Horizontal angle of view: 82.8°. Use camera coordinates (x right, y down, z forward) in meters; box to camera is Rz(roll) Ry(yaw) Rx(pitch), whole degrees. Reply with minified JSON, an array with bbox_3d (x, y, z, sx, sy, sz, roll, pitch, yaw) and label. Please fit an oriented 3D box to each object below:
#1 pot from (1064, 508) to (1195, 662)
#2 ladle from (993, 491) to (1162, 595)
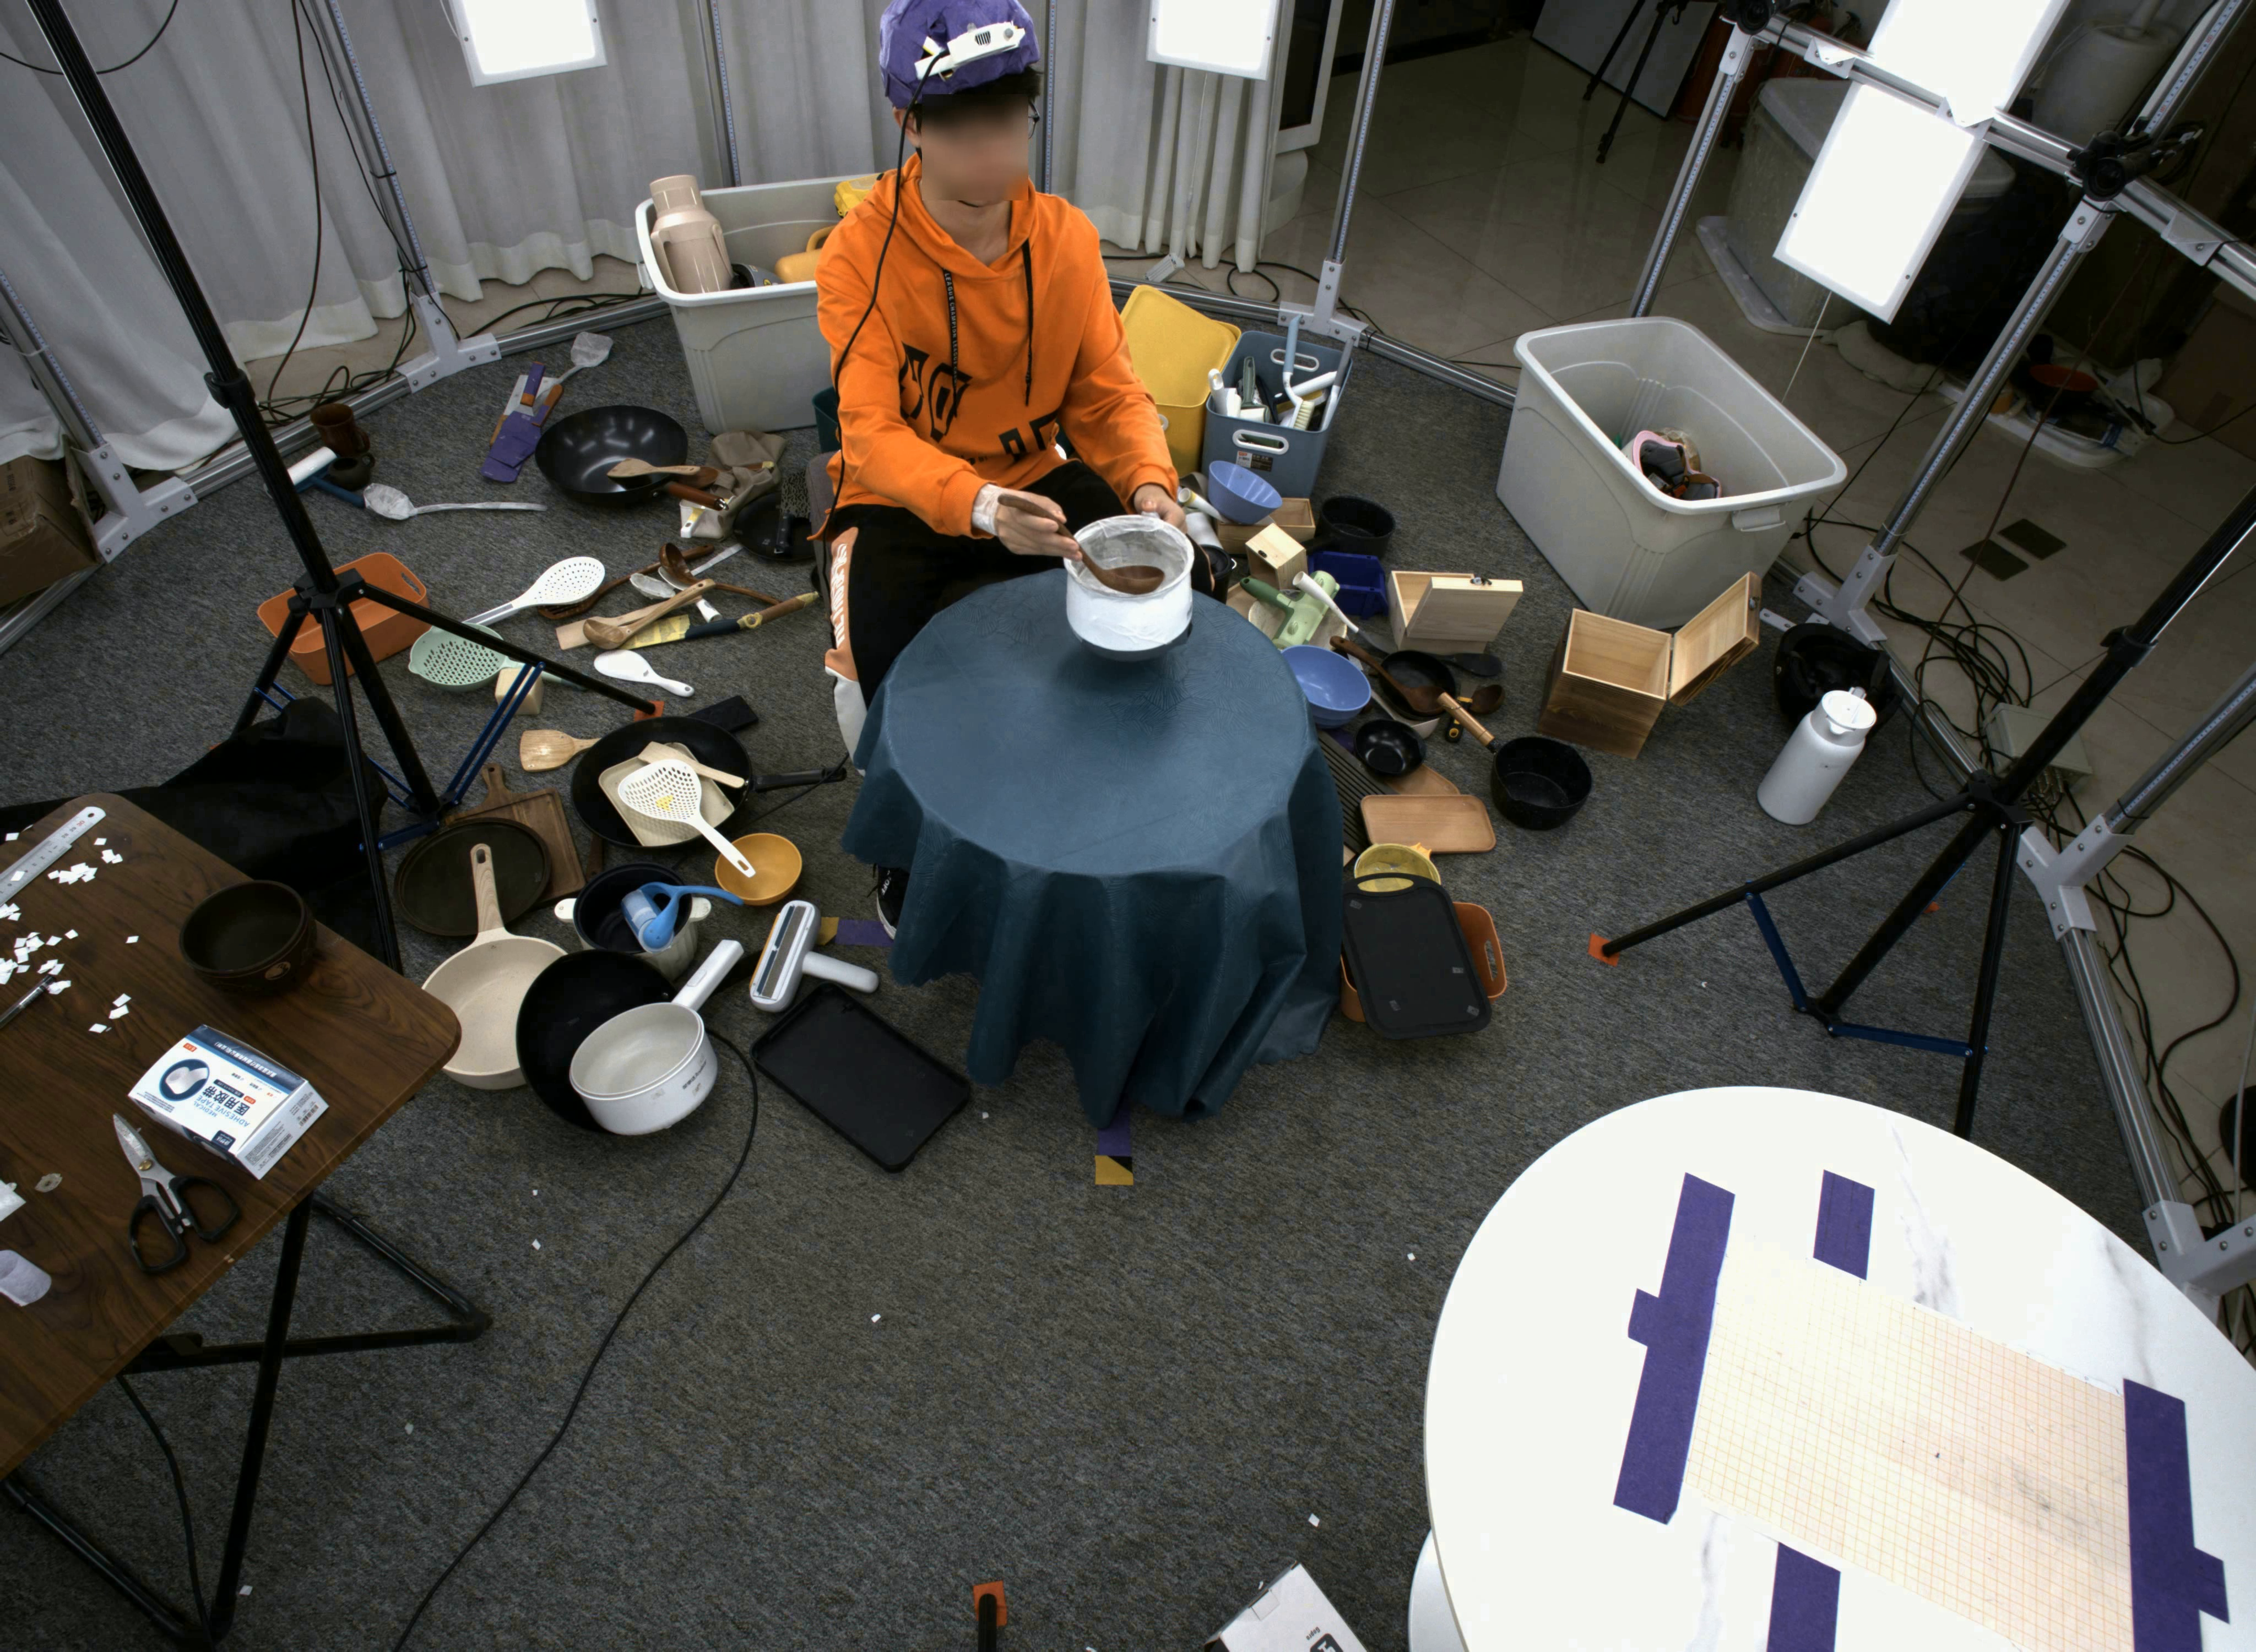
[{"bbox_3d":[0.010,-0.347,1.807,0.179,0.133,0.239,10,49,10],"label":"pot"},{"bbox_3d":[-0.060,-0.370,1.647,0.065,0.256,0.077,-58,35,-2],"label":"ladle"}]
